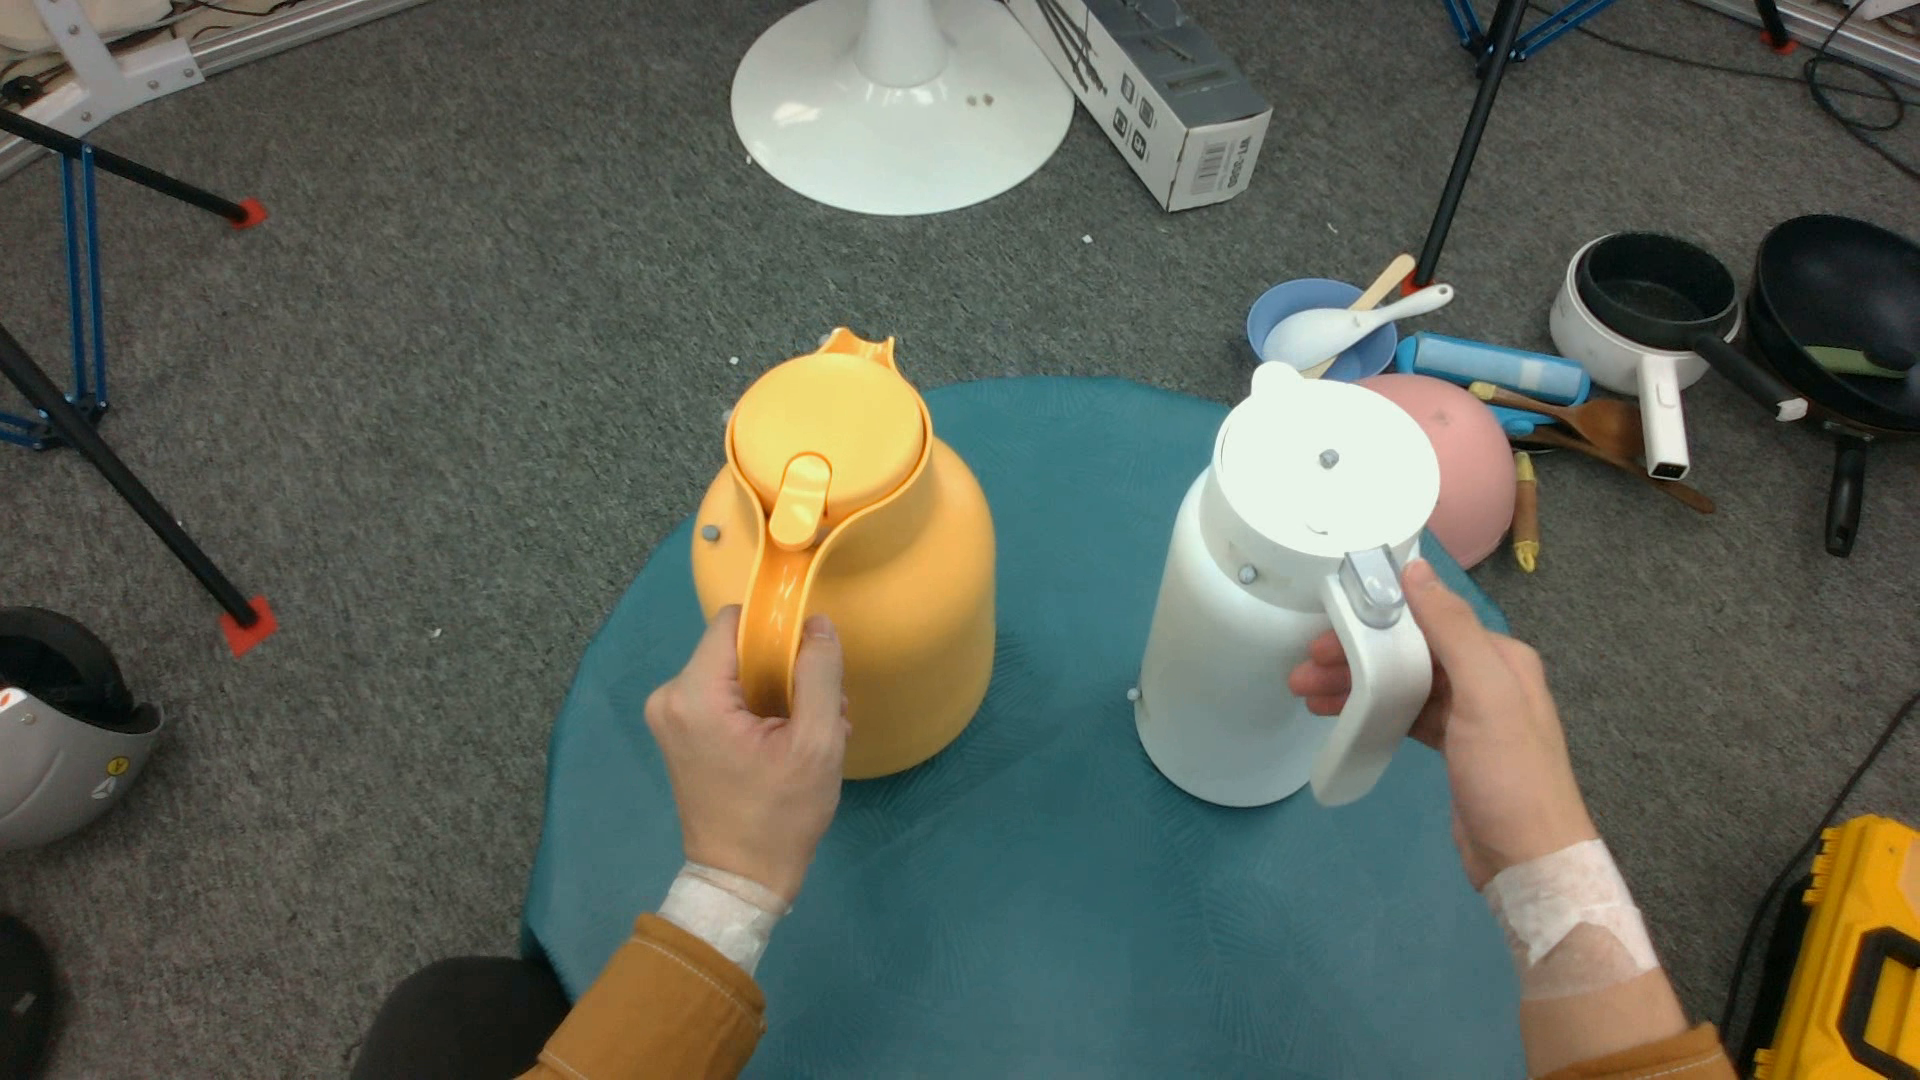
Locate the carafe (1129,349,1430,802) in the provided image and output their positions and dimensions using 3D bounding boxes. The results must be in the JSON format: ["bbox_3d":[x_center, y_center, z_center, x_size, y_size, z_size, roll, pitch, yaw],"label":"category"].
[{"bbox_3d":[0.165,0.049,0.712,0.124,0.267,0.173,-11,58,-10],"label":"carafe"}]

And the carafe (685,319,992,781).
[{"bbox_3d":[-0.070,0.026,0.725,0.163,0.259,0.203,11,56,10],"label":"carafe"}]
